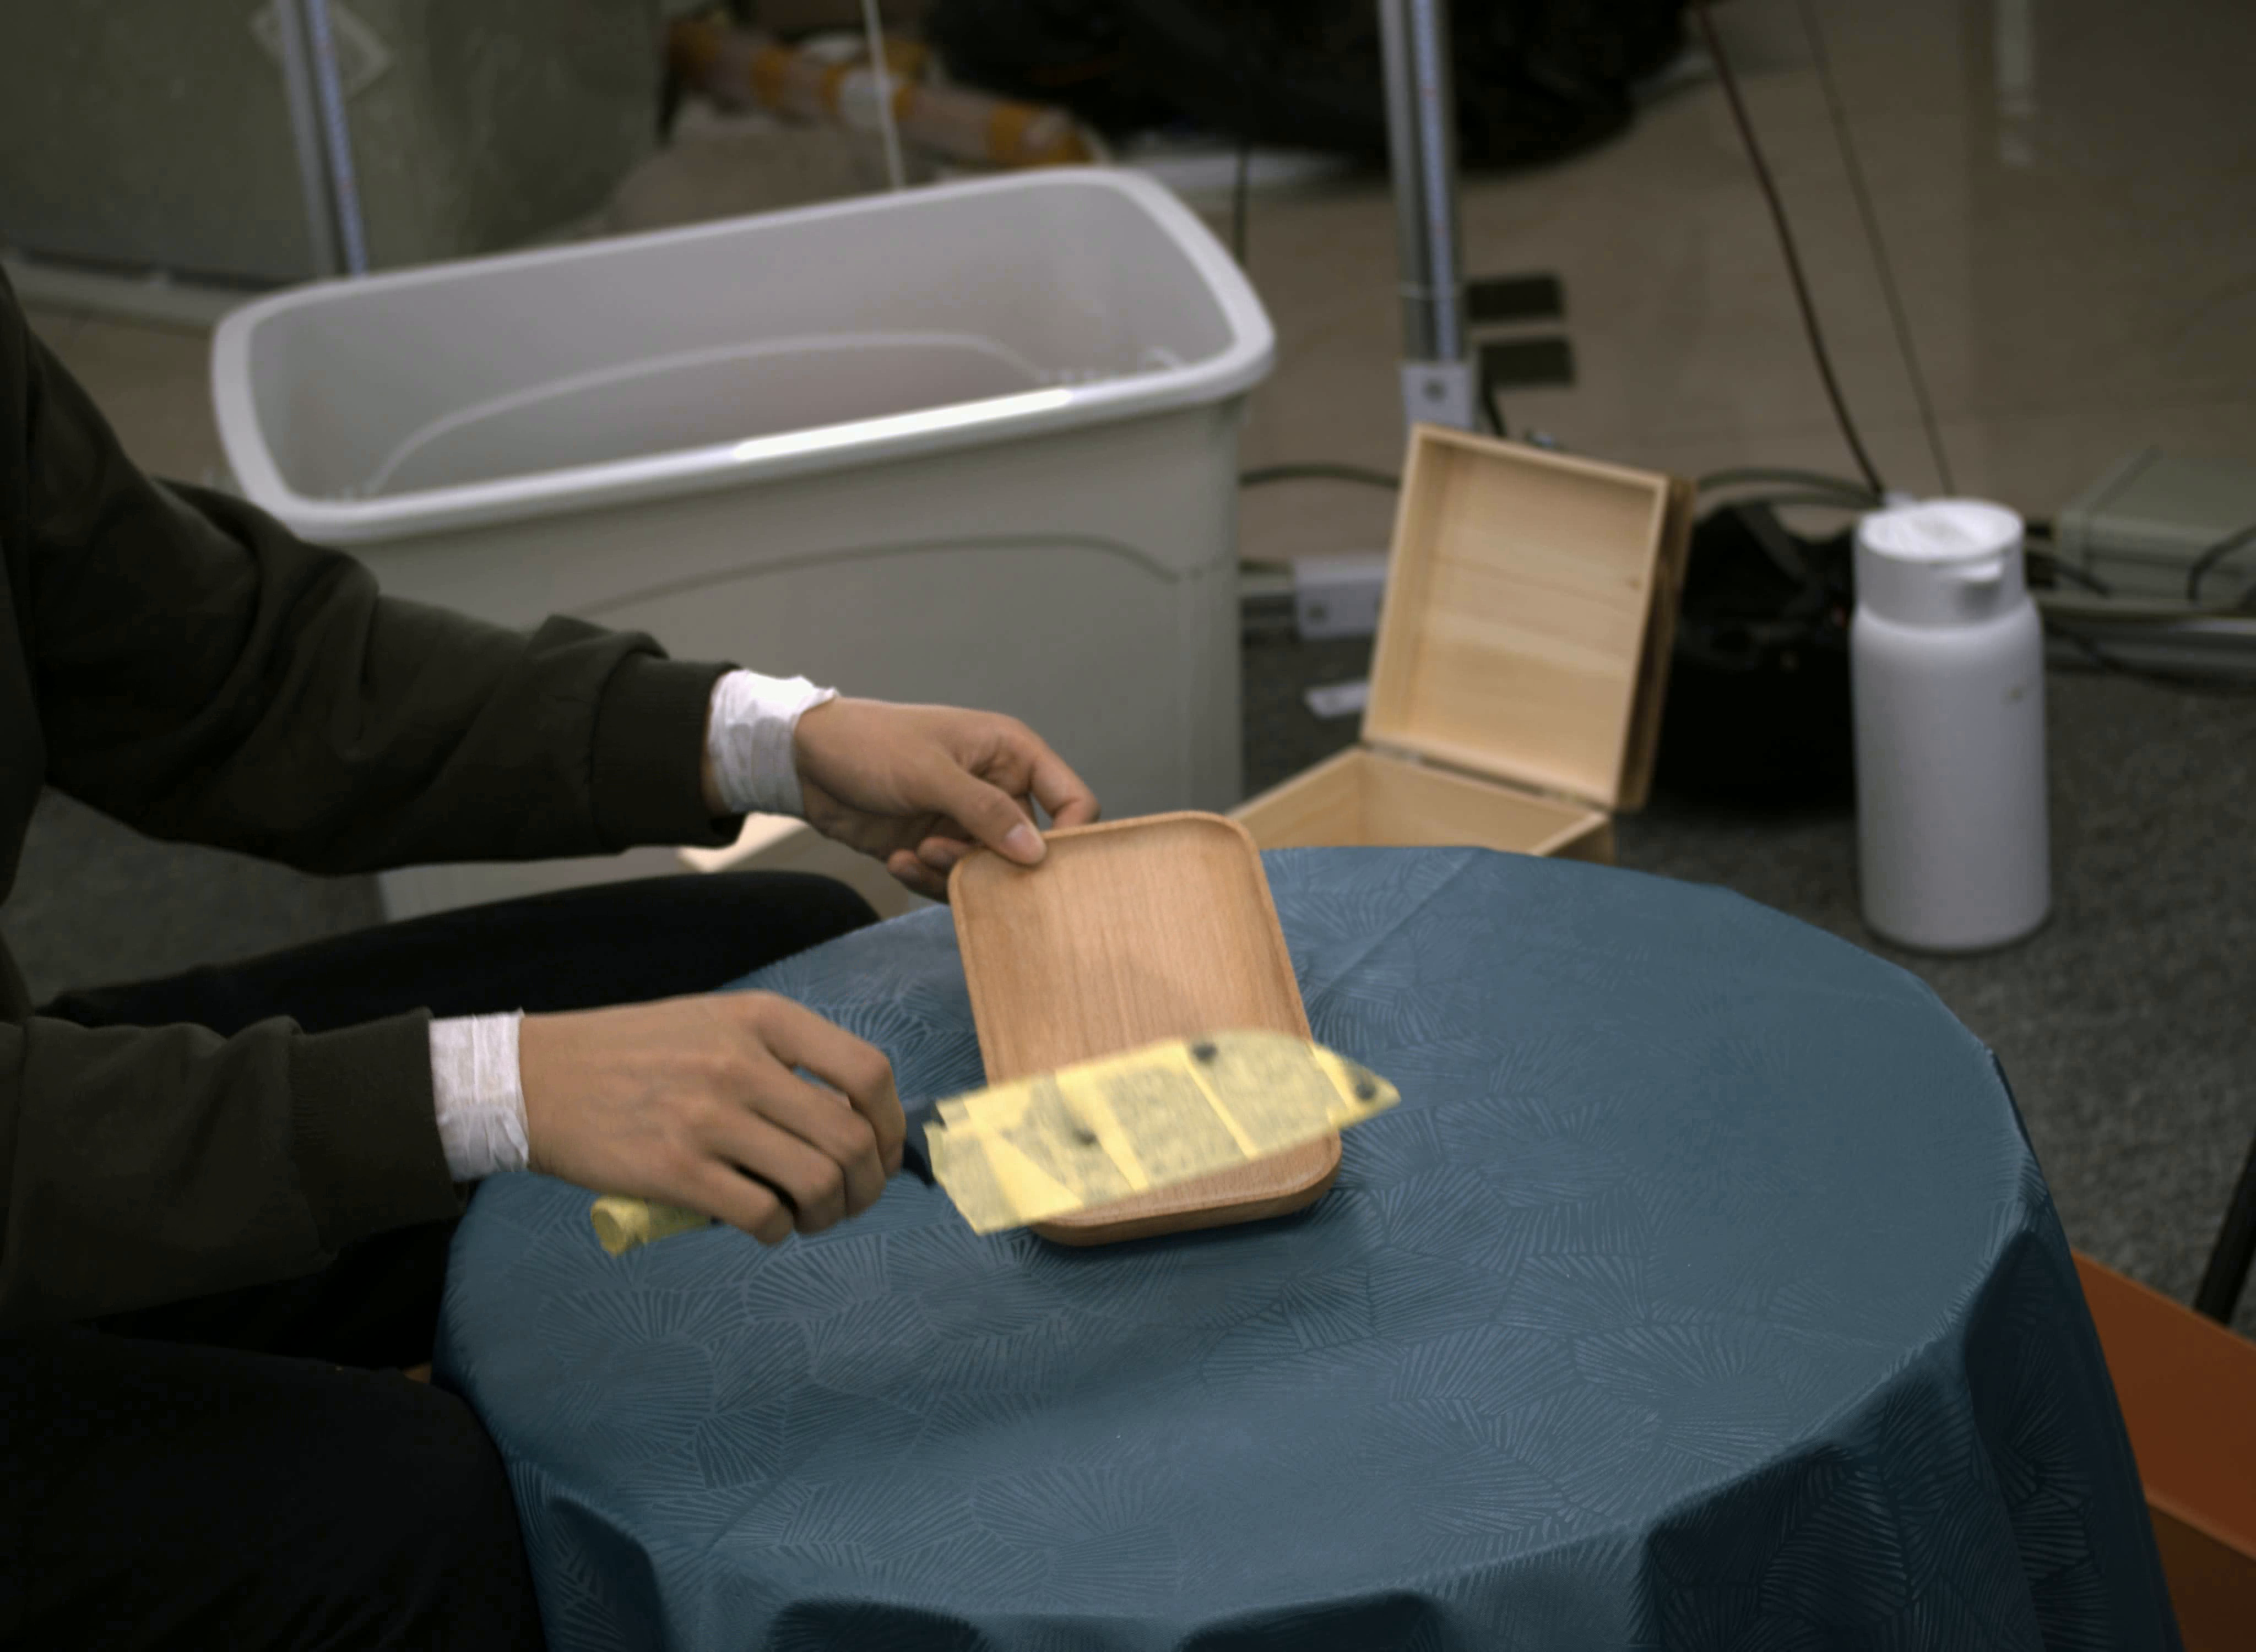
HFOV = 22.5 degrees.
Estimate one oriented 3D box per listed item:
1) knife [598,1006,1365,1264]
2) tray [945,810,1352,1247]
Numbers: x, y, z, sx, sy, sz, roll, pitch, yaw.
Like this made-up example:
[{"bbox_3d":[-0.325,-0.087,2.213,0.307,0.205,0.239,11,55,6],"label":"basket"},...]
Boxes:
[{"bbox_3d":[-0.048,0.114,2.032,0.288,0.028,0.080,-15,40,-16],"label":"knife"},{"bbox_3d":[0.006,0.076,2.207,0.130,0.023,0.246,-11,38,-3],"label":"tray"}]
